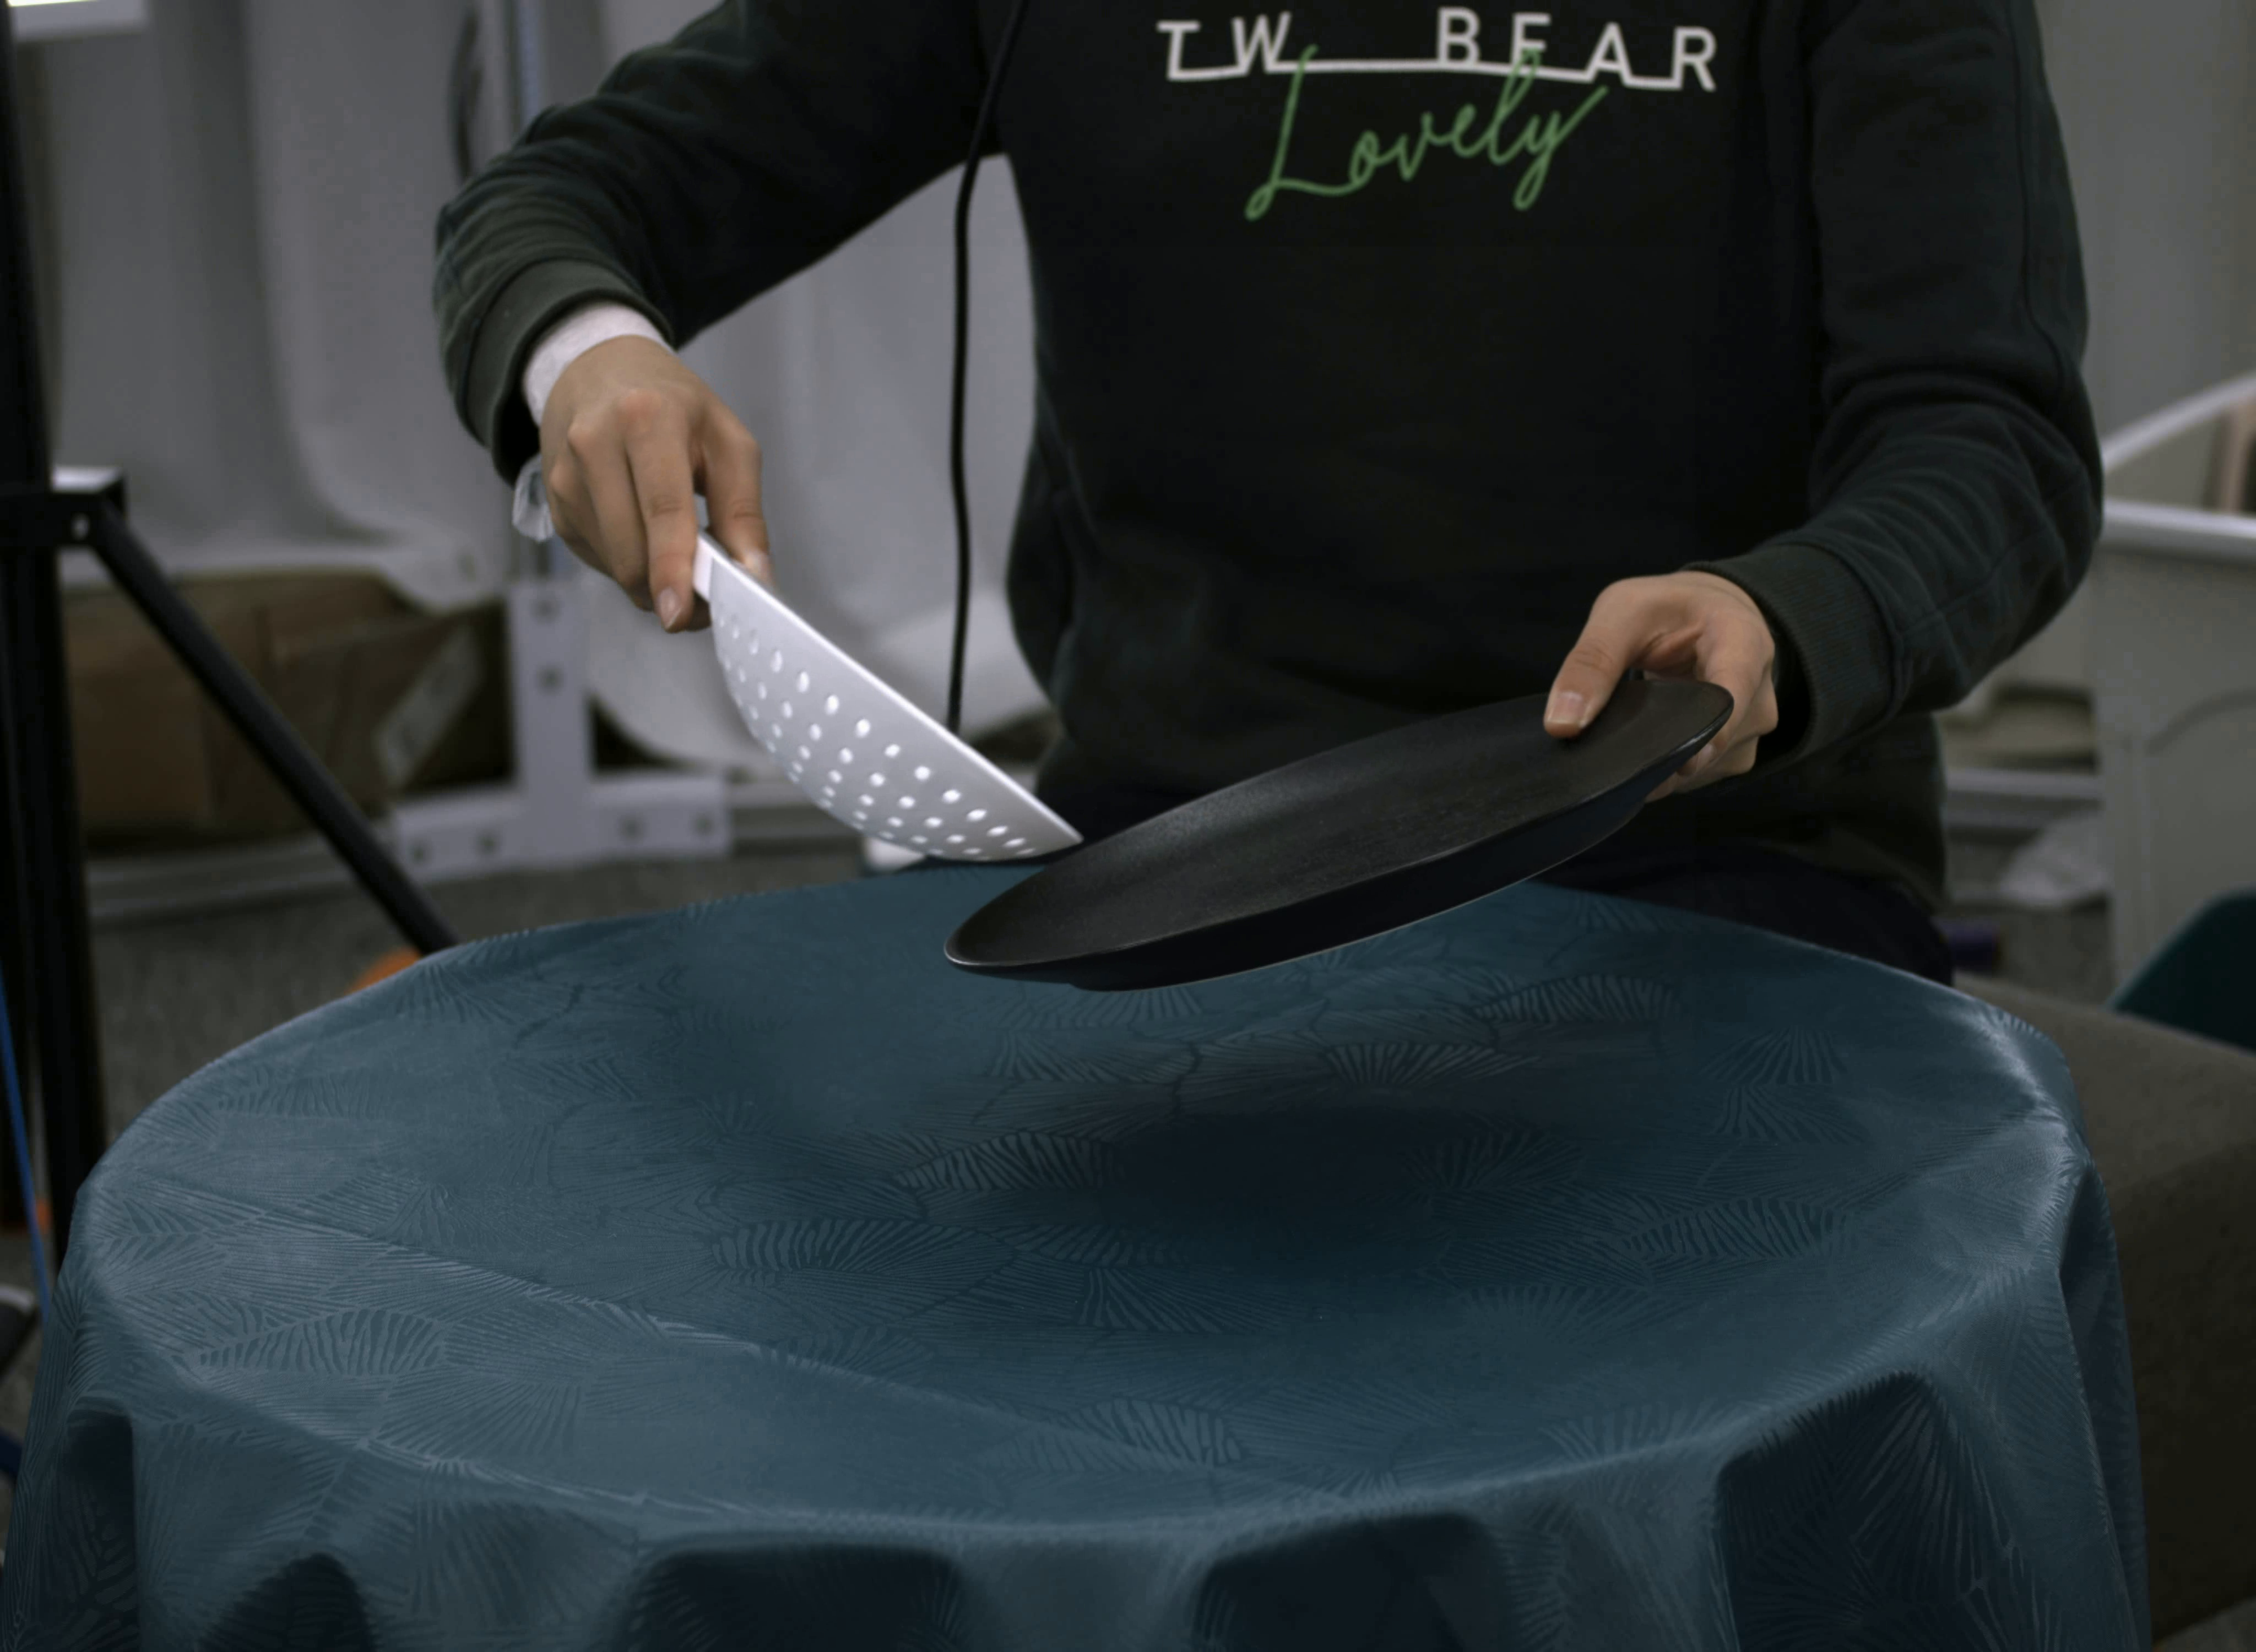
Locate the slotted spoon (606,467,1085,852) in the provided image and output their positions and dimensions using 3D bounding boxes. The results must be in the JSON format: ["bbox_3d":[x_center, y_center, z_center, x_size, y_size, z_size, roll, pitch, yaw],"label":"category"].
[{"bbox_3d":[-0.107,-0.064,1.654,0.133,0.046,0.355,40,4,-25],"label":"slotted spoon"}]

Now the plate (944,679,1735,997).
[{"bbox_3d":[0.064,0.007,1.561,0.243,0.023,0.245,-19,9,1],"label":"plate"}]
